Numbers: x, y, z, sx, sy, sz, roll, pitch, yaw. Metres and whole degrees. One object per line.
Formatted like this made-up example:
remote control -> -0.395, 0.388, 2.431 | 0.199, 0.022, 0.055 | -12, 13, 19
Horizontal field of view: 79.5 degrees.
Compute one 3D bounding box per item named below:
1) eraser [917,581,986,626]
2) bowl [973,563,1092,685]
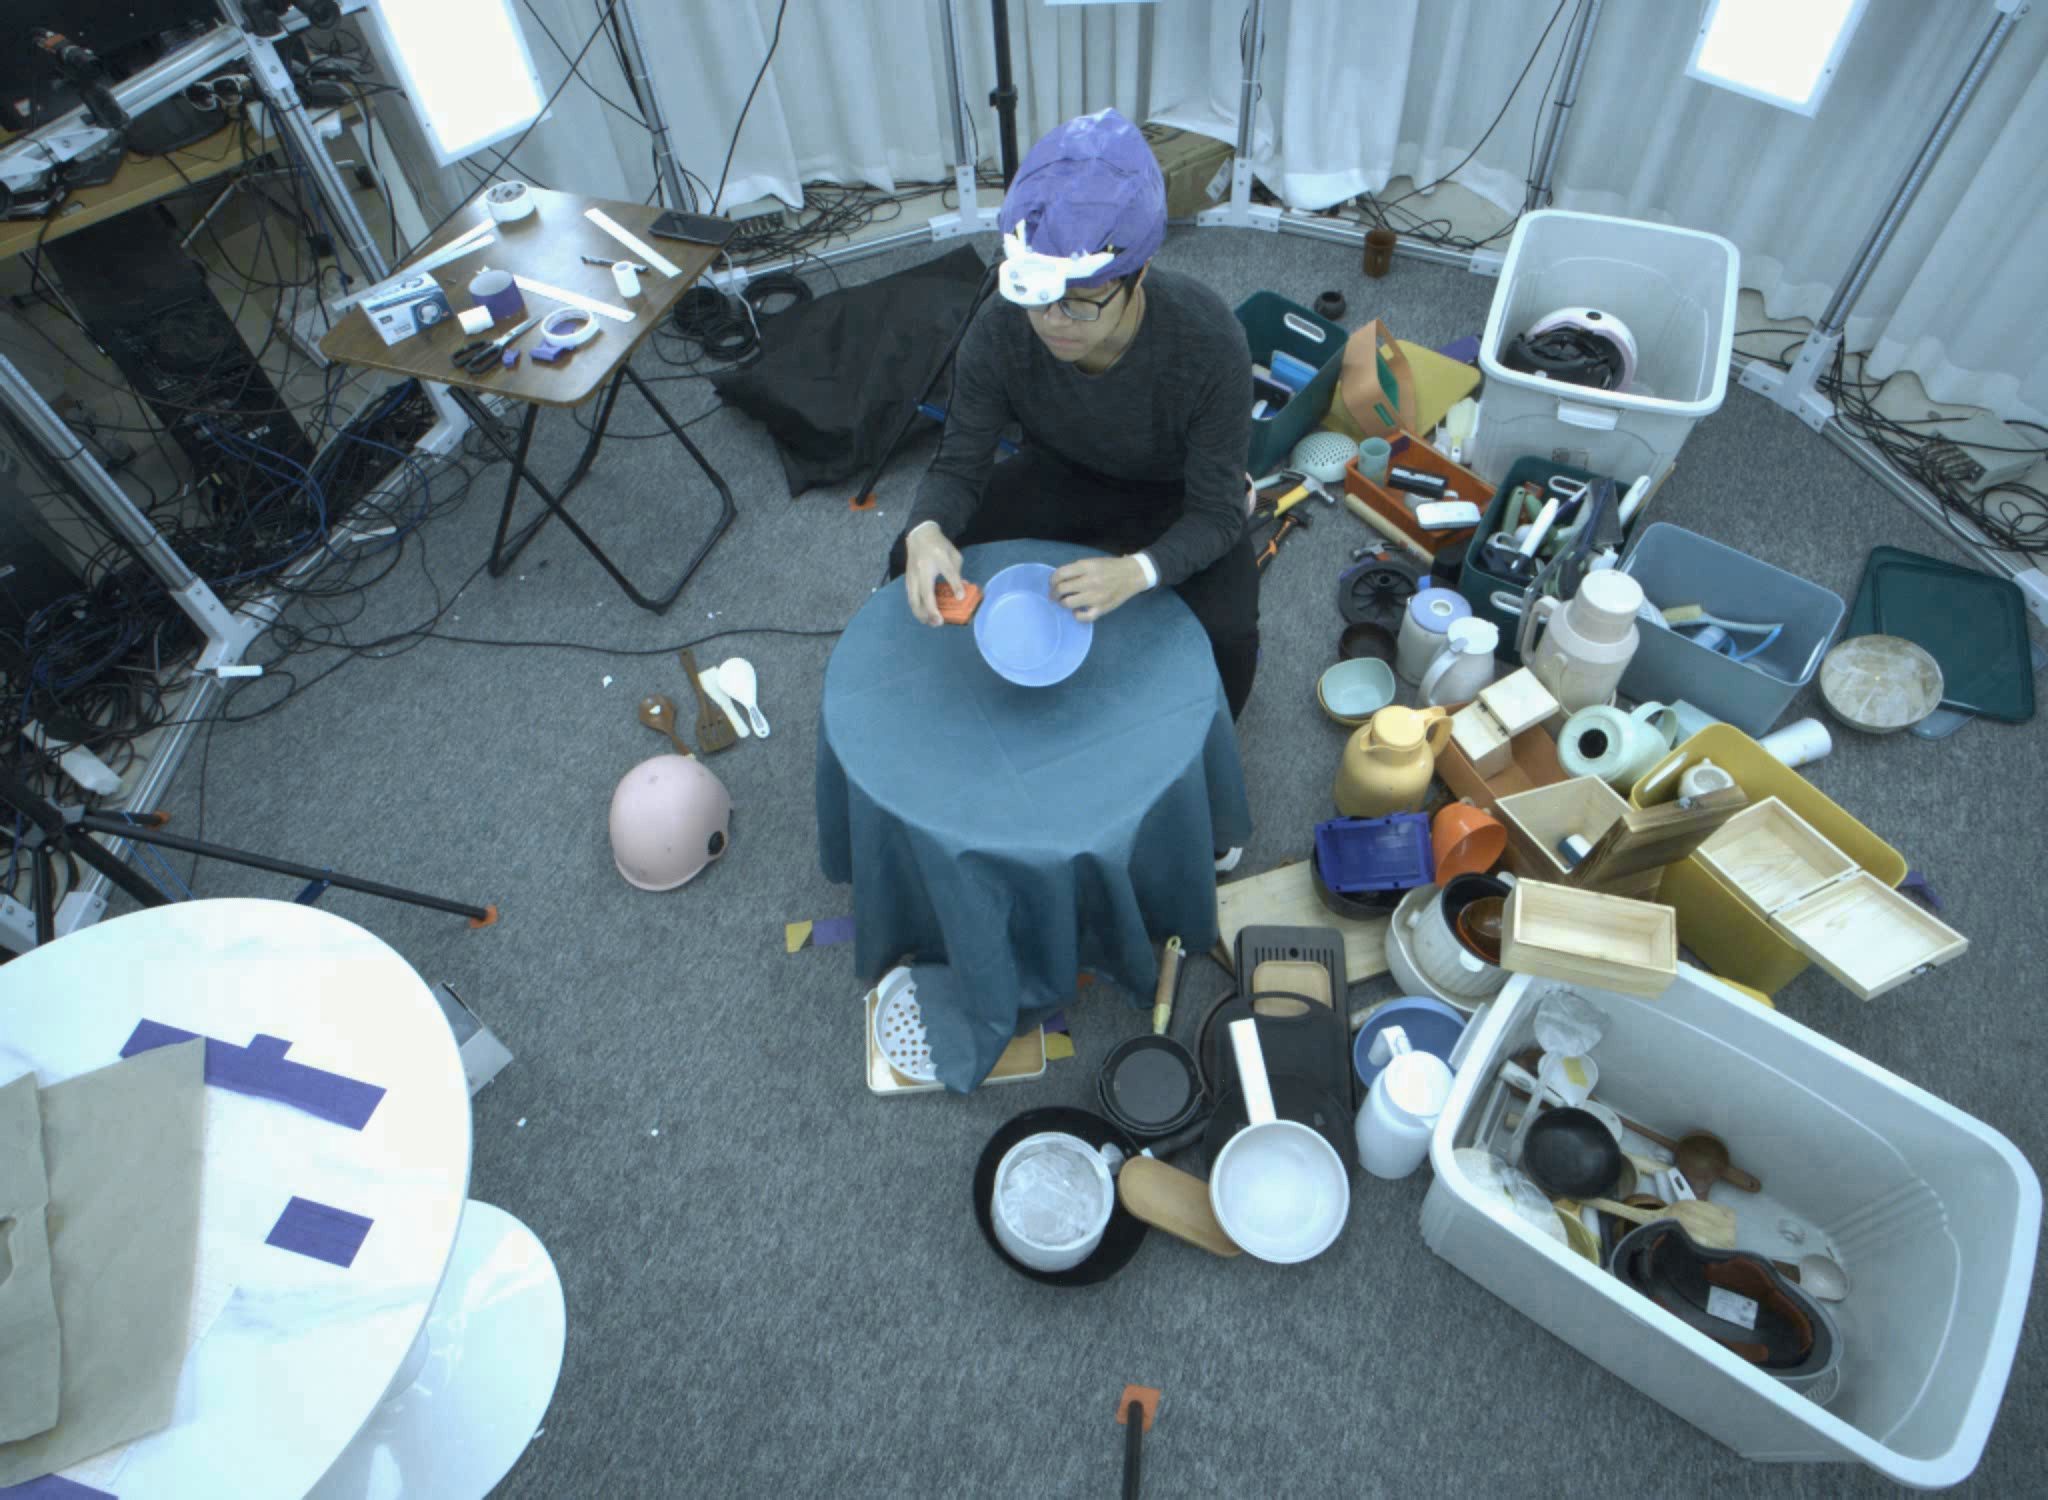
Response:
eraser -> -0.104, -0.208, 1.735 | 0.105, 0.023, 0.059 | 13, 73, 48
bowl -> 0.005, -0.179, 1.777 | 0.178, 0.069, 0.176 | 0, 89, -18
